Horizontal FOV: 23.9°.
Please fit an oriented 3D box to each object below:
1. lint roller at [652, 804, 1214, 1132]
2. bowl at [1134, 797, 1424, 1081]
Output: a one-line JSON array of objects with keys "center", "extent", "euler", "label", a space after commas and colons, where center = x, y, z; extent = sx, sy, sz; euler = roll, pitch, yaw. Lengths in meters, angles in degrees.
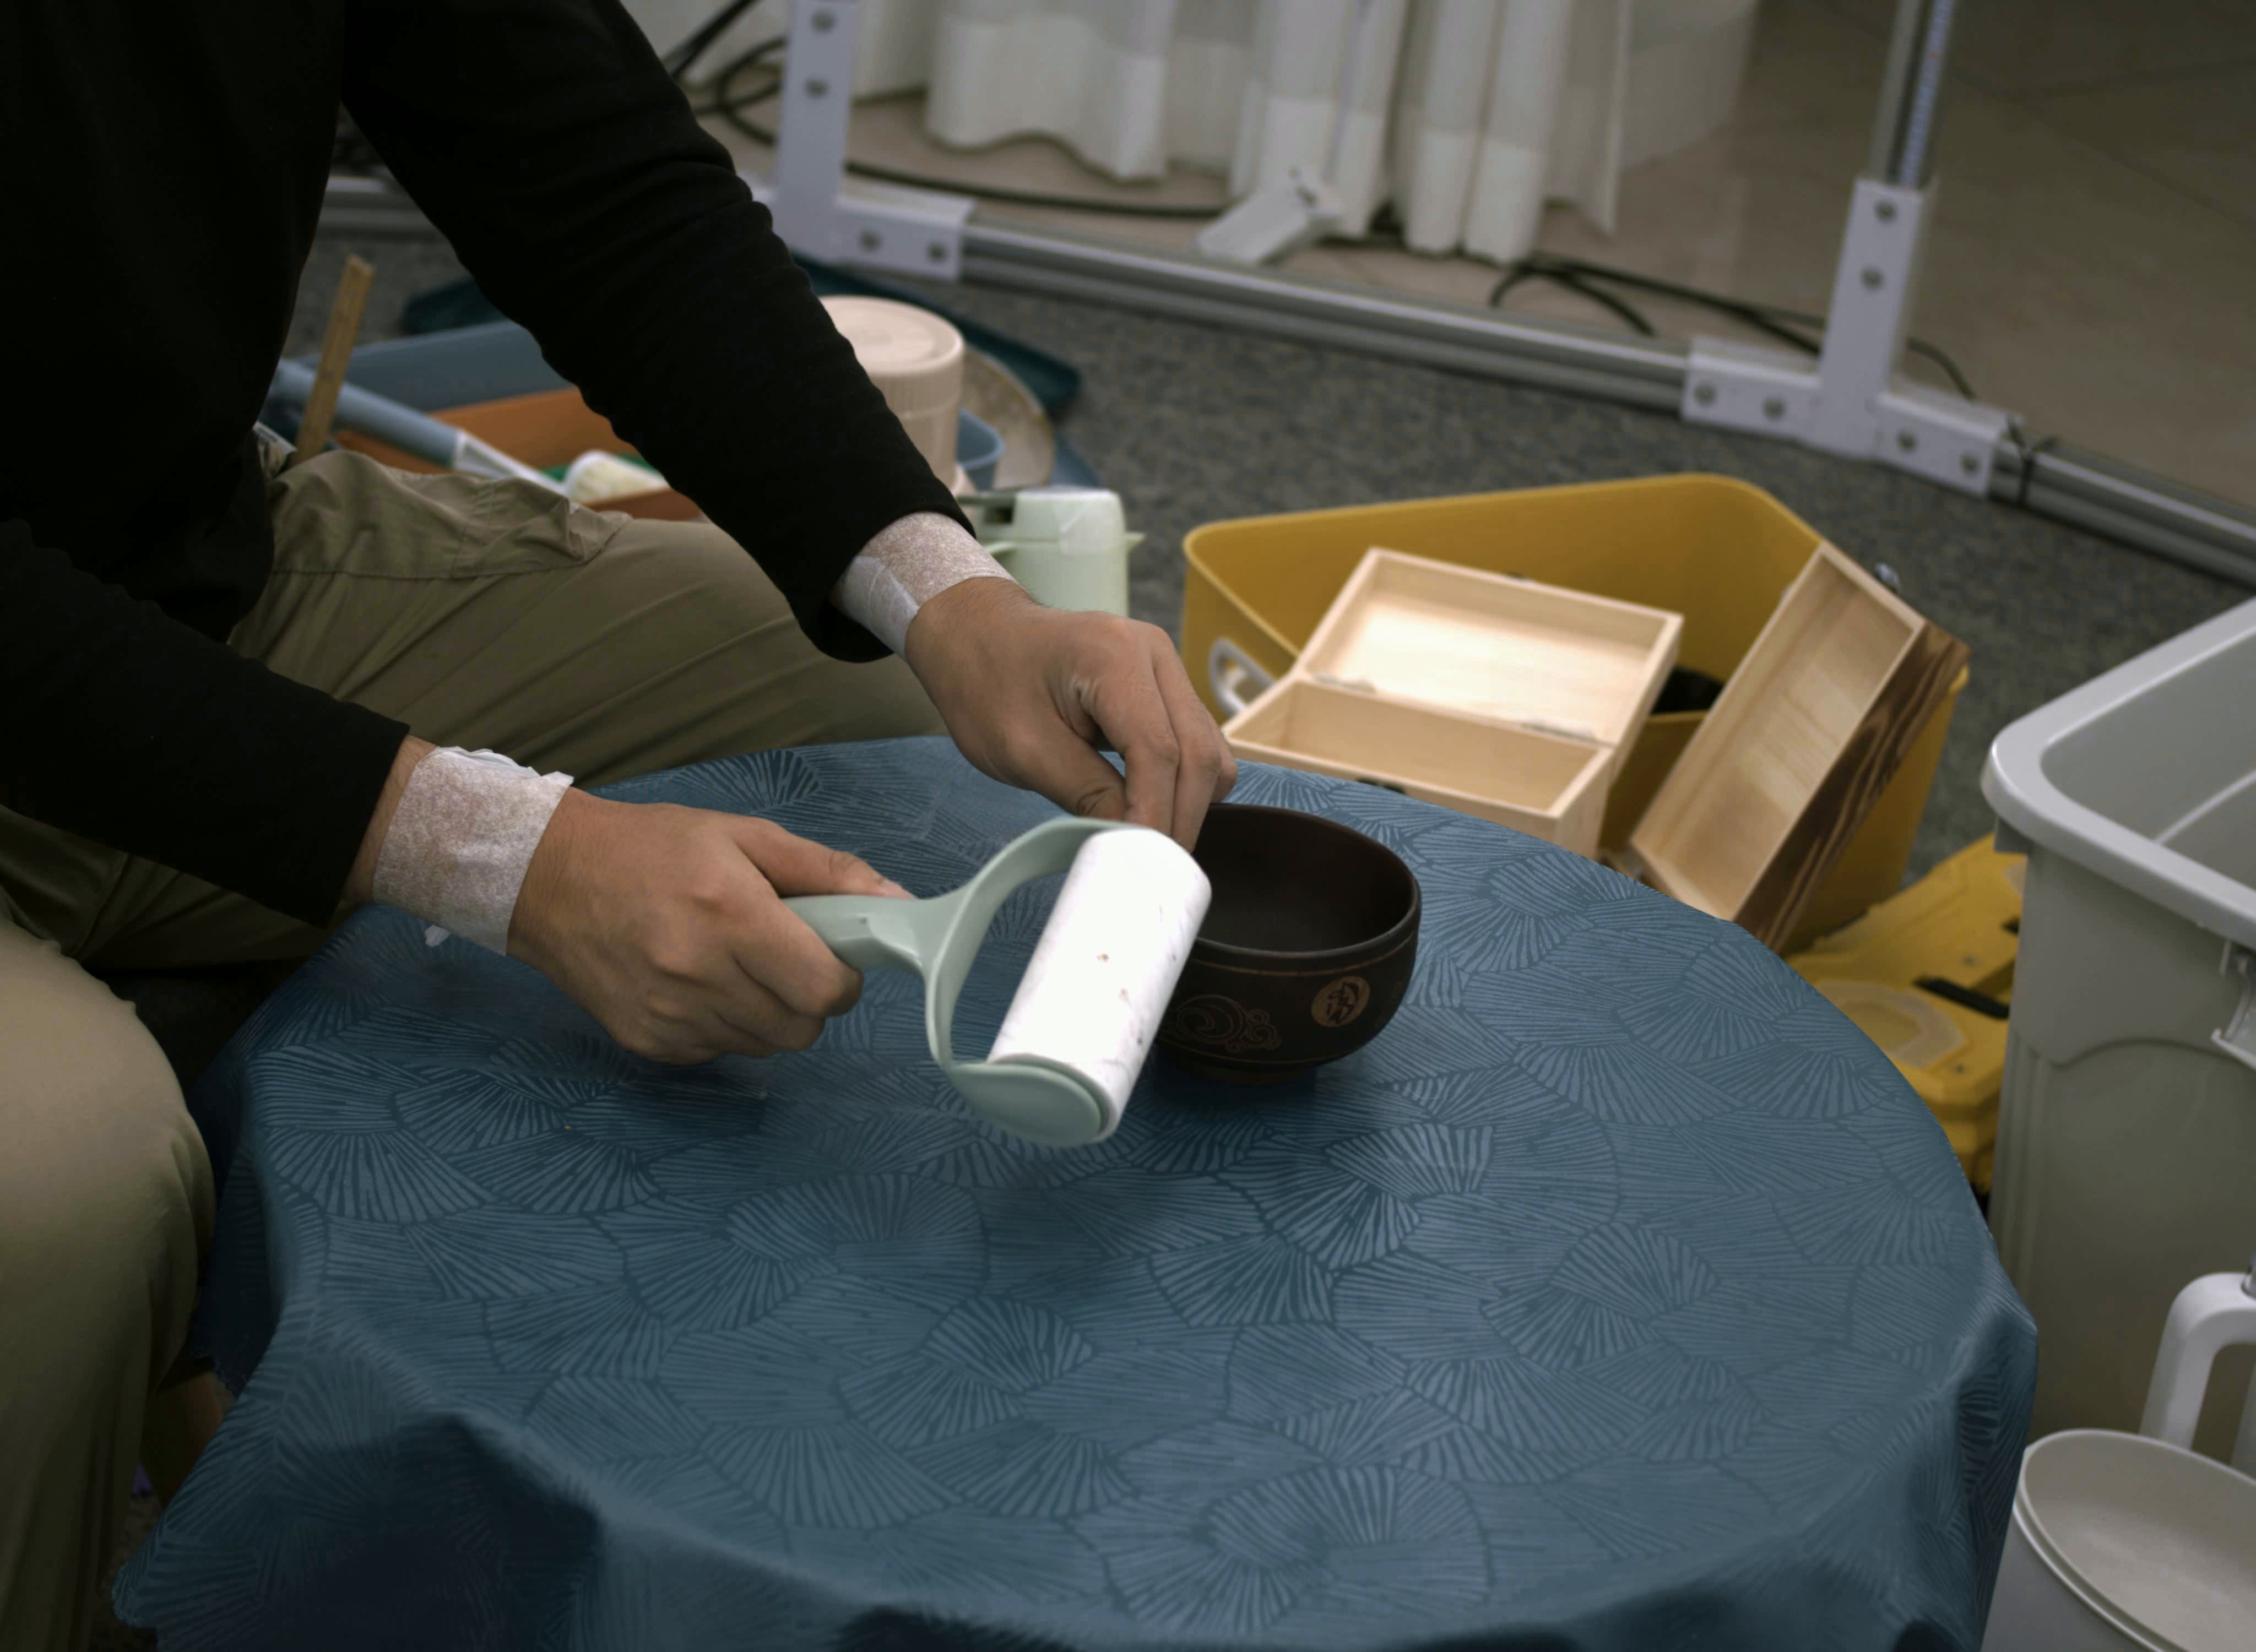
[{"center": [-0.075, 0.041, 1.807], "extent": [0.198, 0.048, 0.117], "euler": [6, 51, 22], "label": "lint roller"}, {"center": [0.044, 0.046, 1.883], "extent": [0.117, 0.069, 0.119], "euler": [4, 27, -3], "label": "bowl"}]
